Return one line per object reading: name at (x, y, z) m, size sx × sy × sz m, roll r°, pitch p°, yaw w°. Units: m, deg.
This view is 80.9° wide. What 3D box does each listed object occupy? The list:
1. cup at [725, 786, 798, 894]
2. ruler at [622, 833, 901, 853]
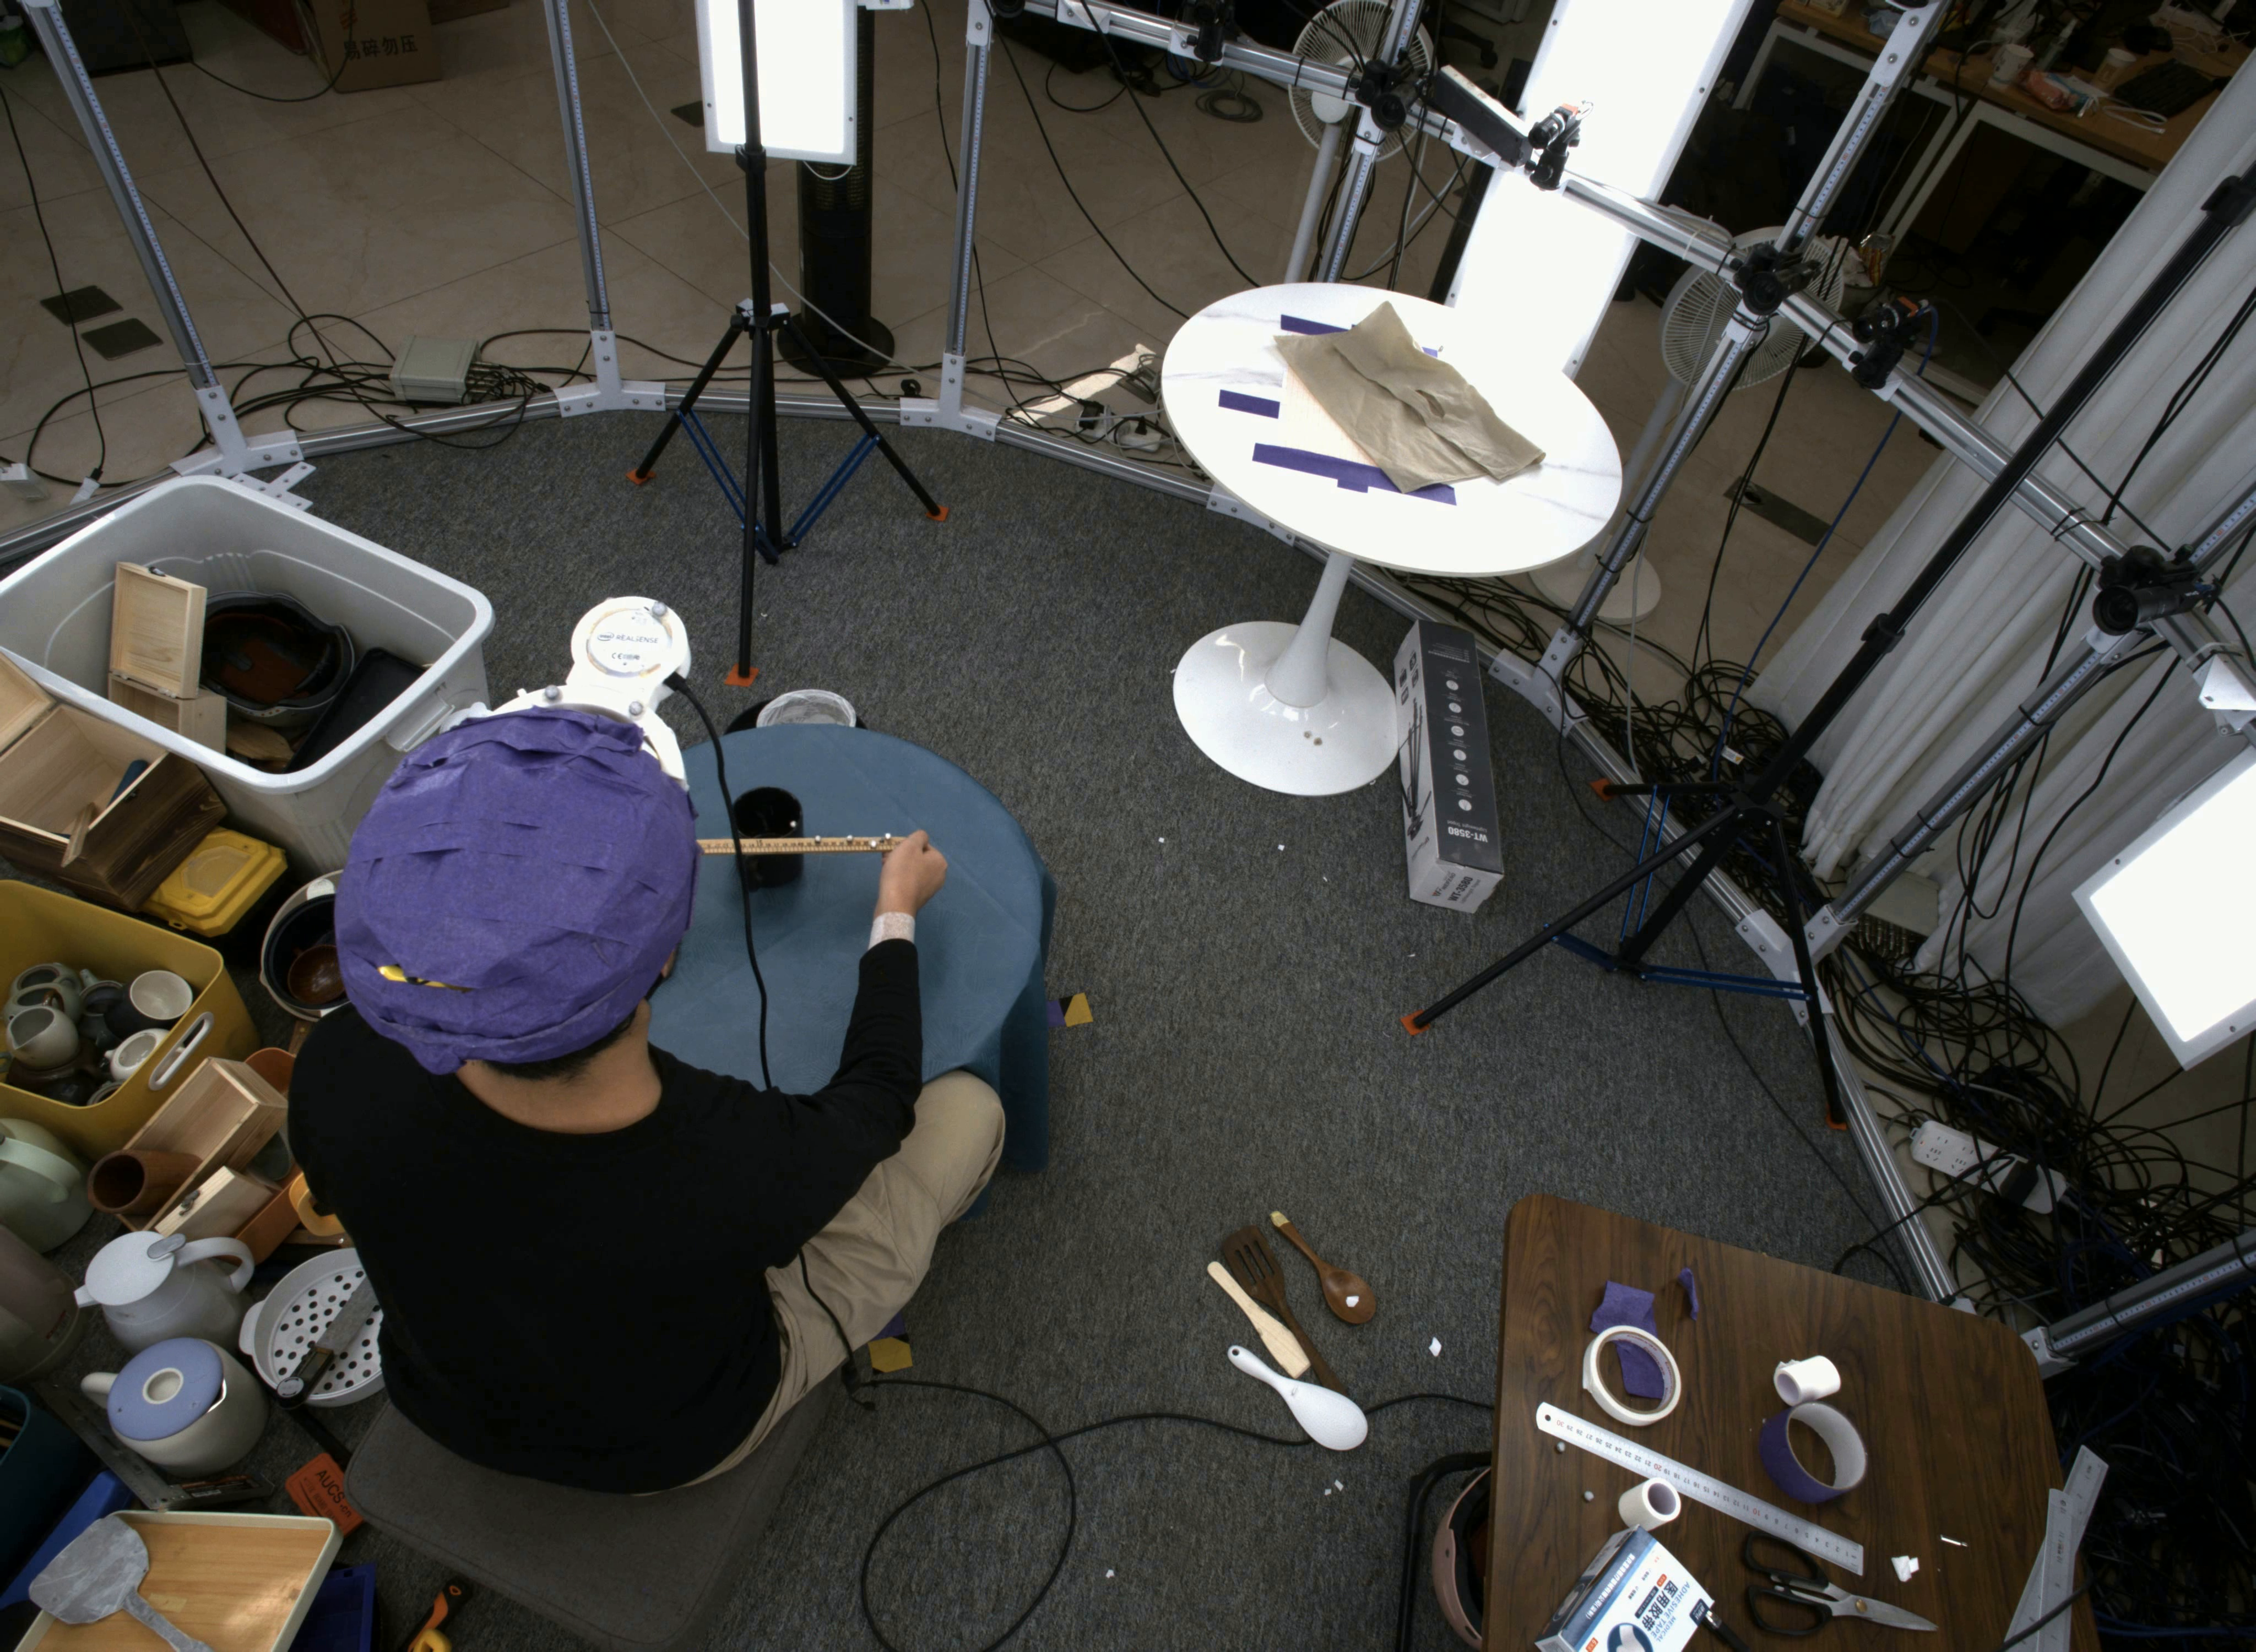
cup at (-0.465, 0.027, 1.620) m, size 0.088 × 0.107 × 0.122 m, roll 16°, pitch 50°, yaw -2°
ruler at (-0.437, 0.020, 1.559) m, size 0.335 × 0.023 × 0.026 m, roll 1°, pitch 35°, yaw -25°
